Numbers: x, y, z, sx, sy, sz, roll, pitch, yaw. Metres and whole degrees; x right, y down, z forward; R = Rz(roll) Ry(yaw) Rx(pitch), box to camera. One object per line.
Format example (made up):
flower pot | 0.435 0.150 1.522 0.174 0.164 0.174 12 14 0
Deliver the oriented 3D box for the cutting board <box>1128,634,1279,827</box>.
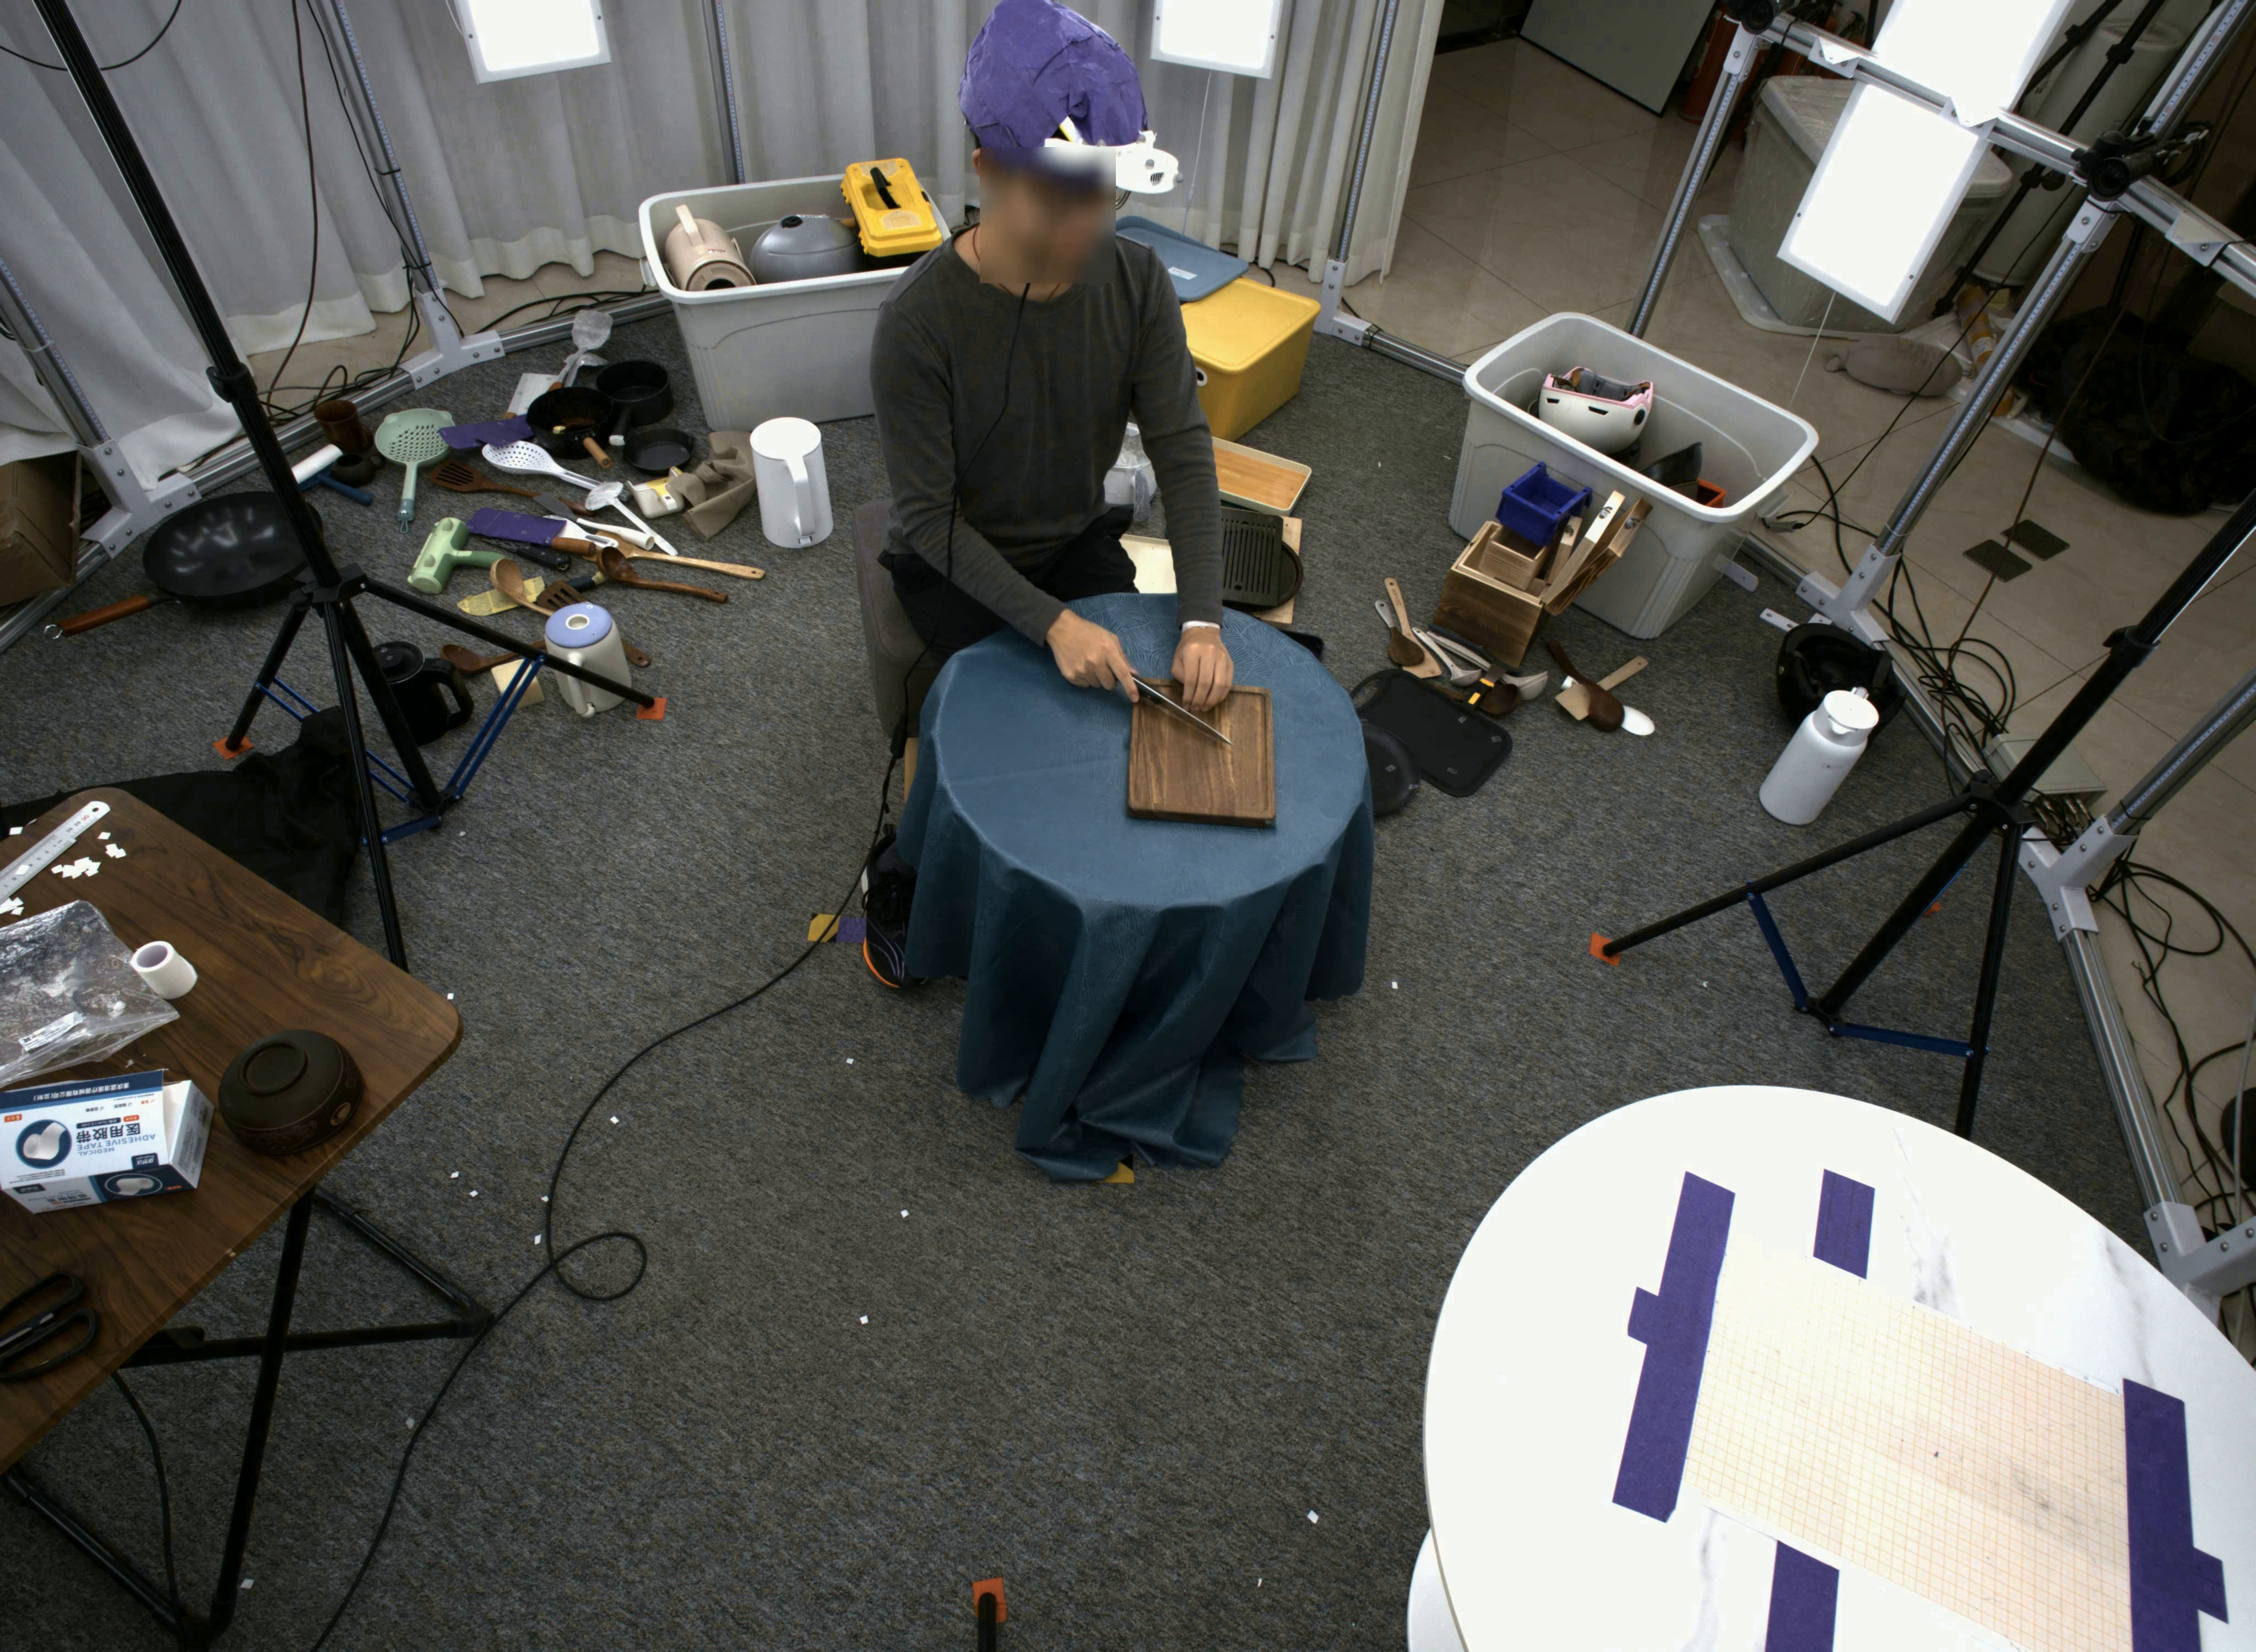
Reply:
cutting board | 0.103 -0.143 1.785 0.201 0.022 0.361 4 49 -1

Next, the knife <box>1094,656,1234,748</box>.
knife | 0.049 -0.173 1.777 0.240 0.024 0.016 34 61 17
